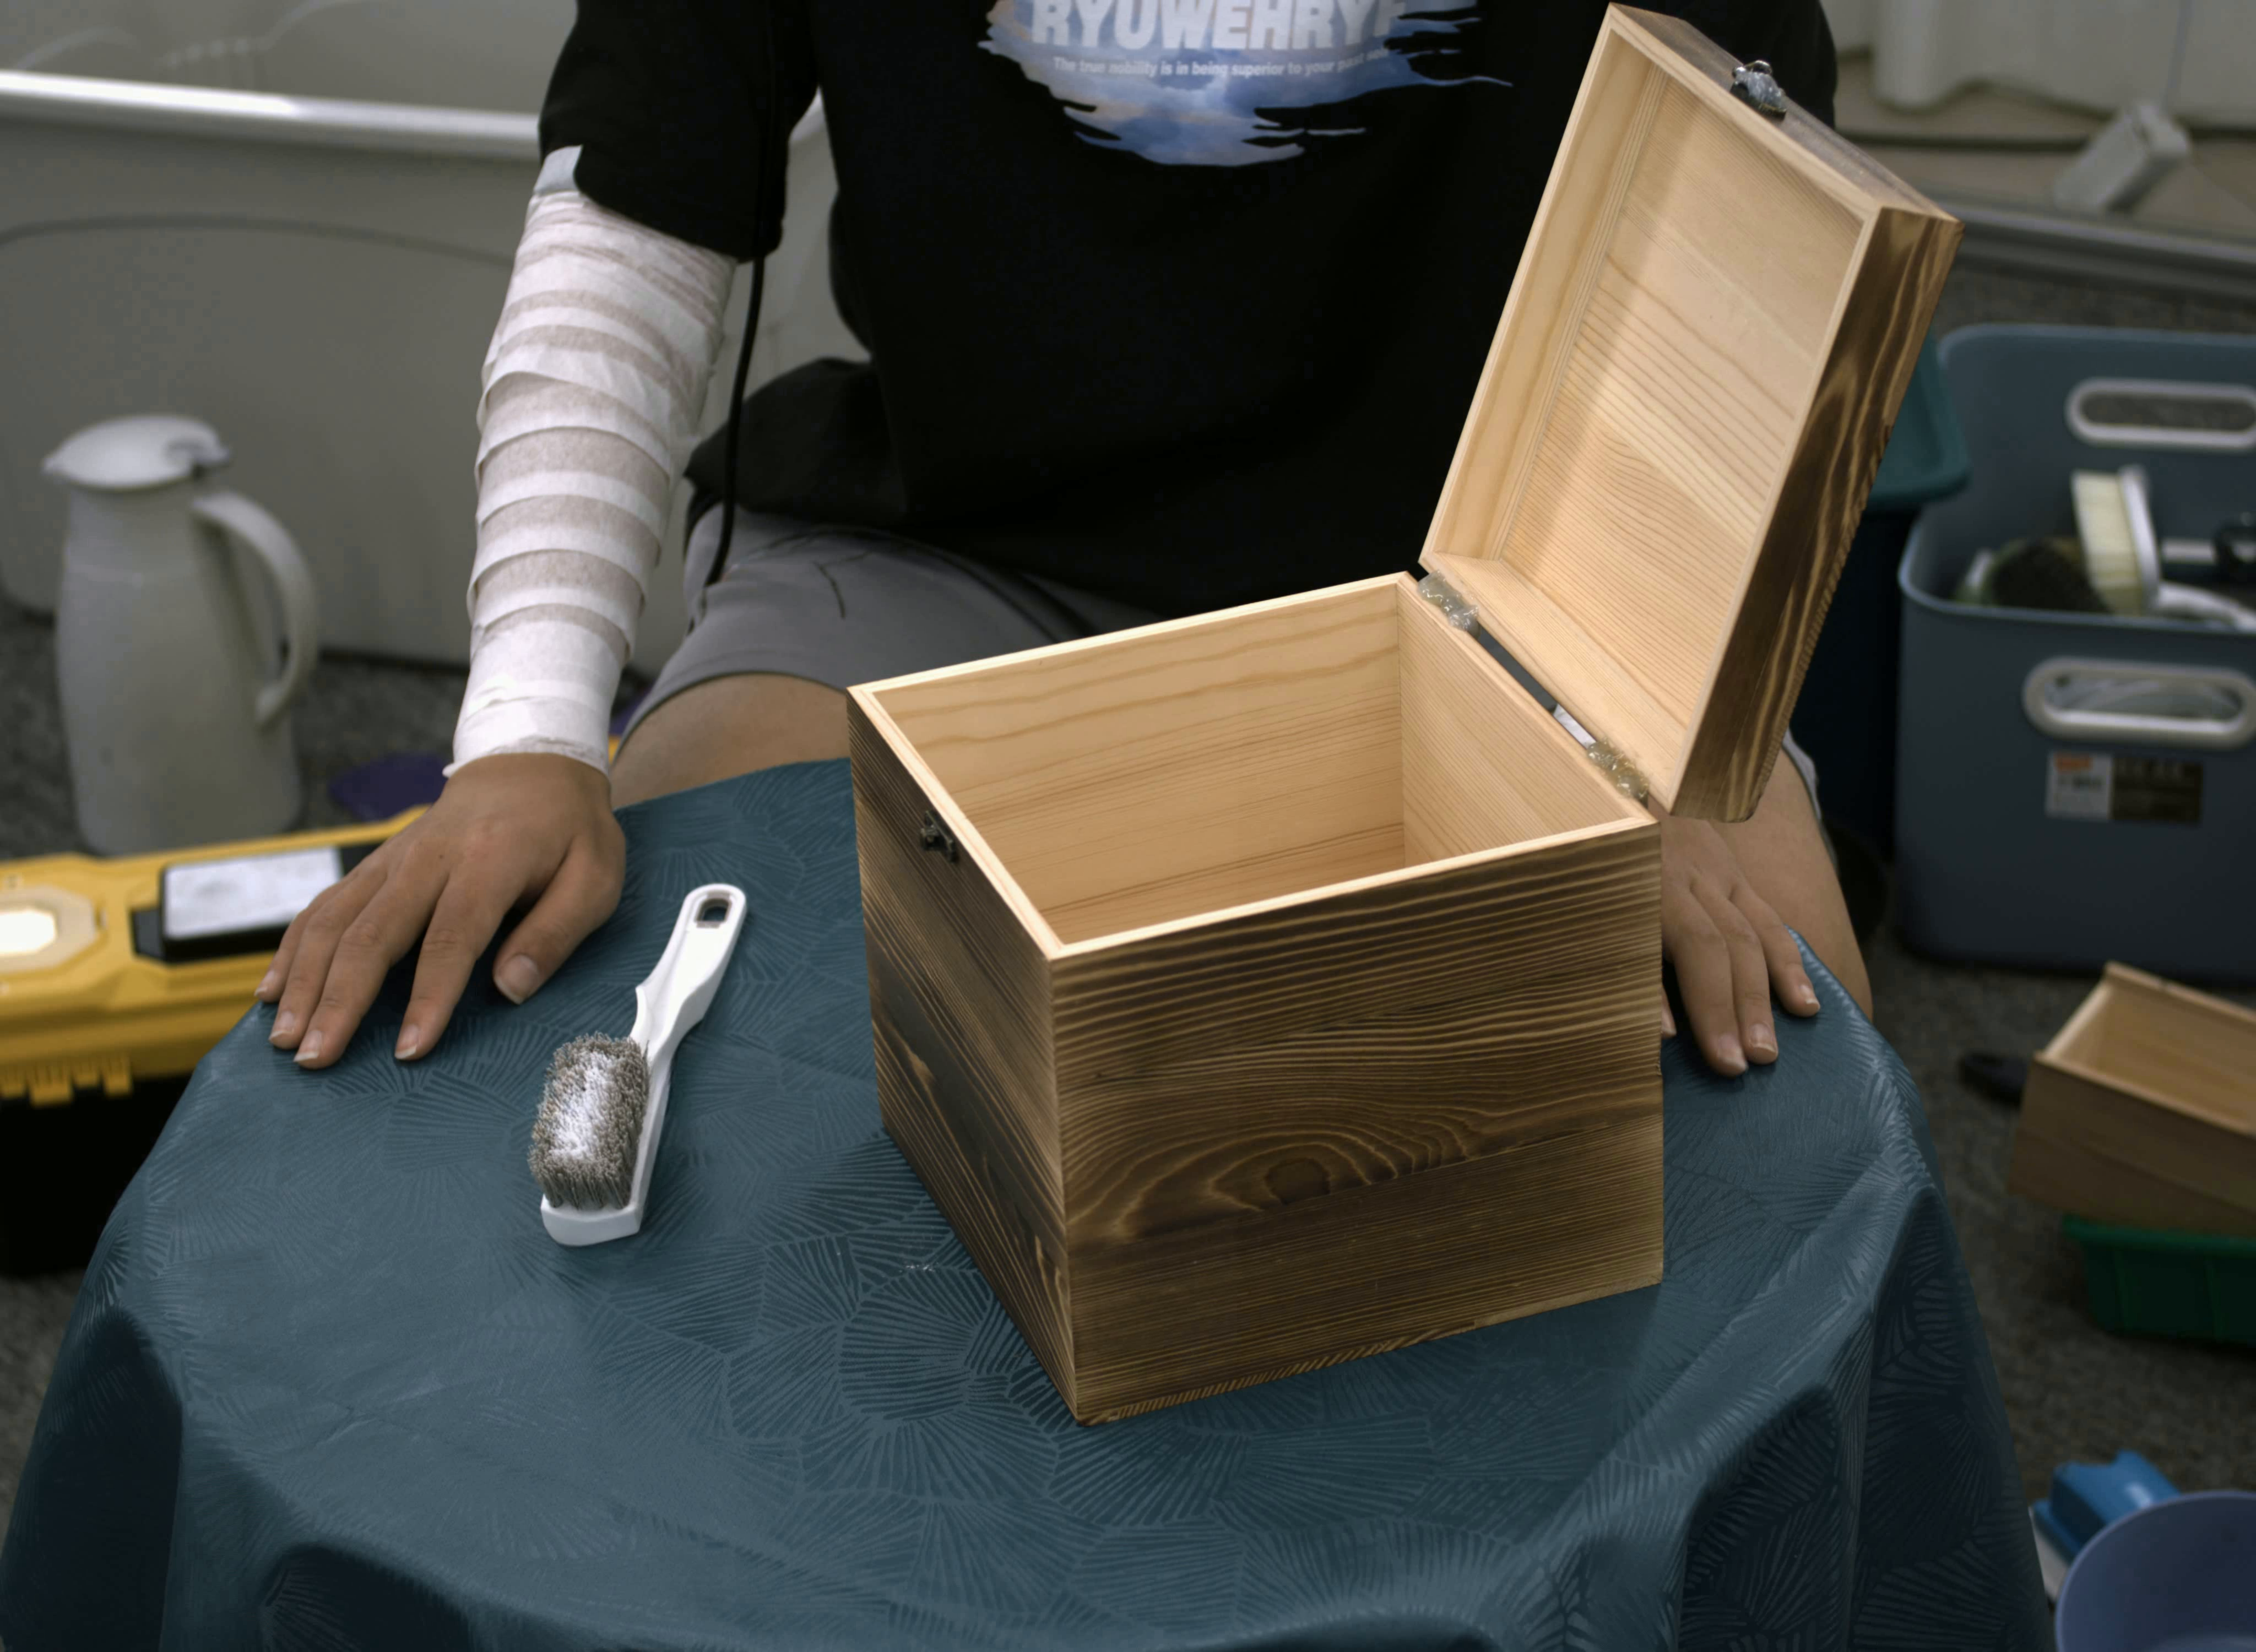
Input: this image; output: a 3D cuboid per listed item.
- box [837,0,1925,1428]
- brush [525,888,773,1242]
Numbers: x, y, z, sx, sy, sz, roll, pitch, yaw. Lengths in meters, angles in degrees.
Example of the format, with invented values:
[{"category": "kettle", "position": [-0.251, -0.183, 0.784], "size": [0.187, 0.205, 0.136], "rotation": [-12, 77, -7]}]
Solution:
[{"category": "box", "position": [0.081, -0.048, 1.792], "size": [0.323, 0.372, 0.210], "rotation": [-12, 26, -17]}, {"category": "brush", "position": [-0.162, 0.065, 1.936], "size": [0.034, 0.050, 0.248], "rotation": [-1, 27, 12]}]
